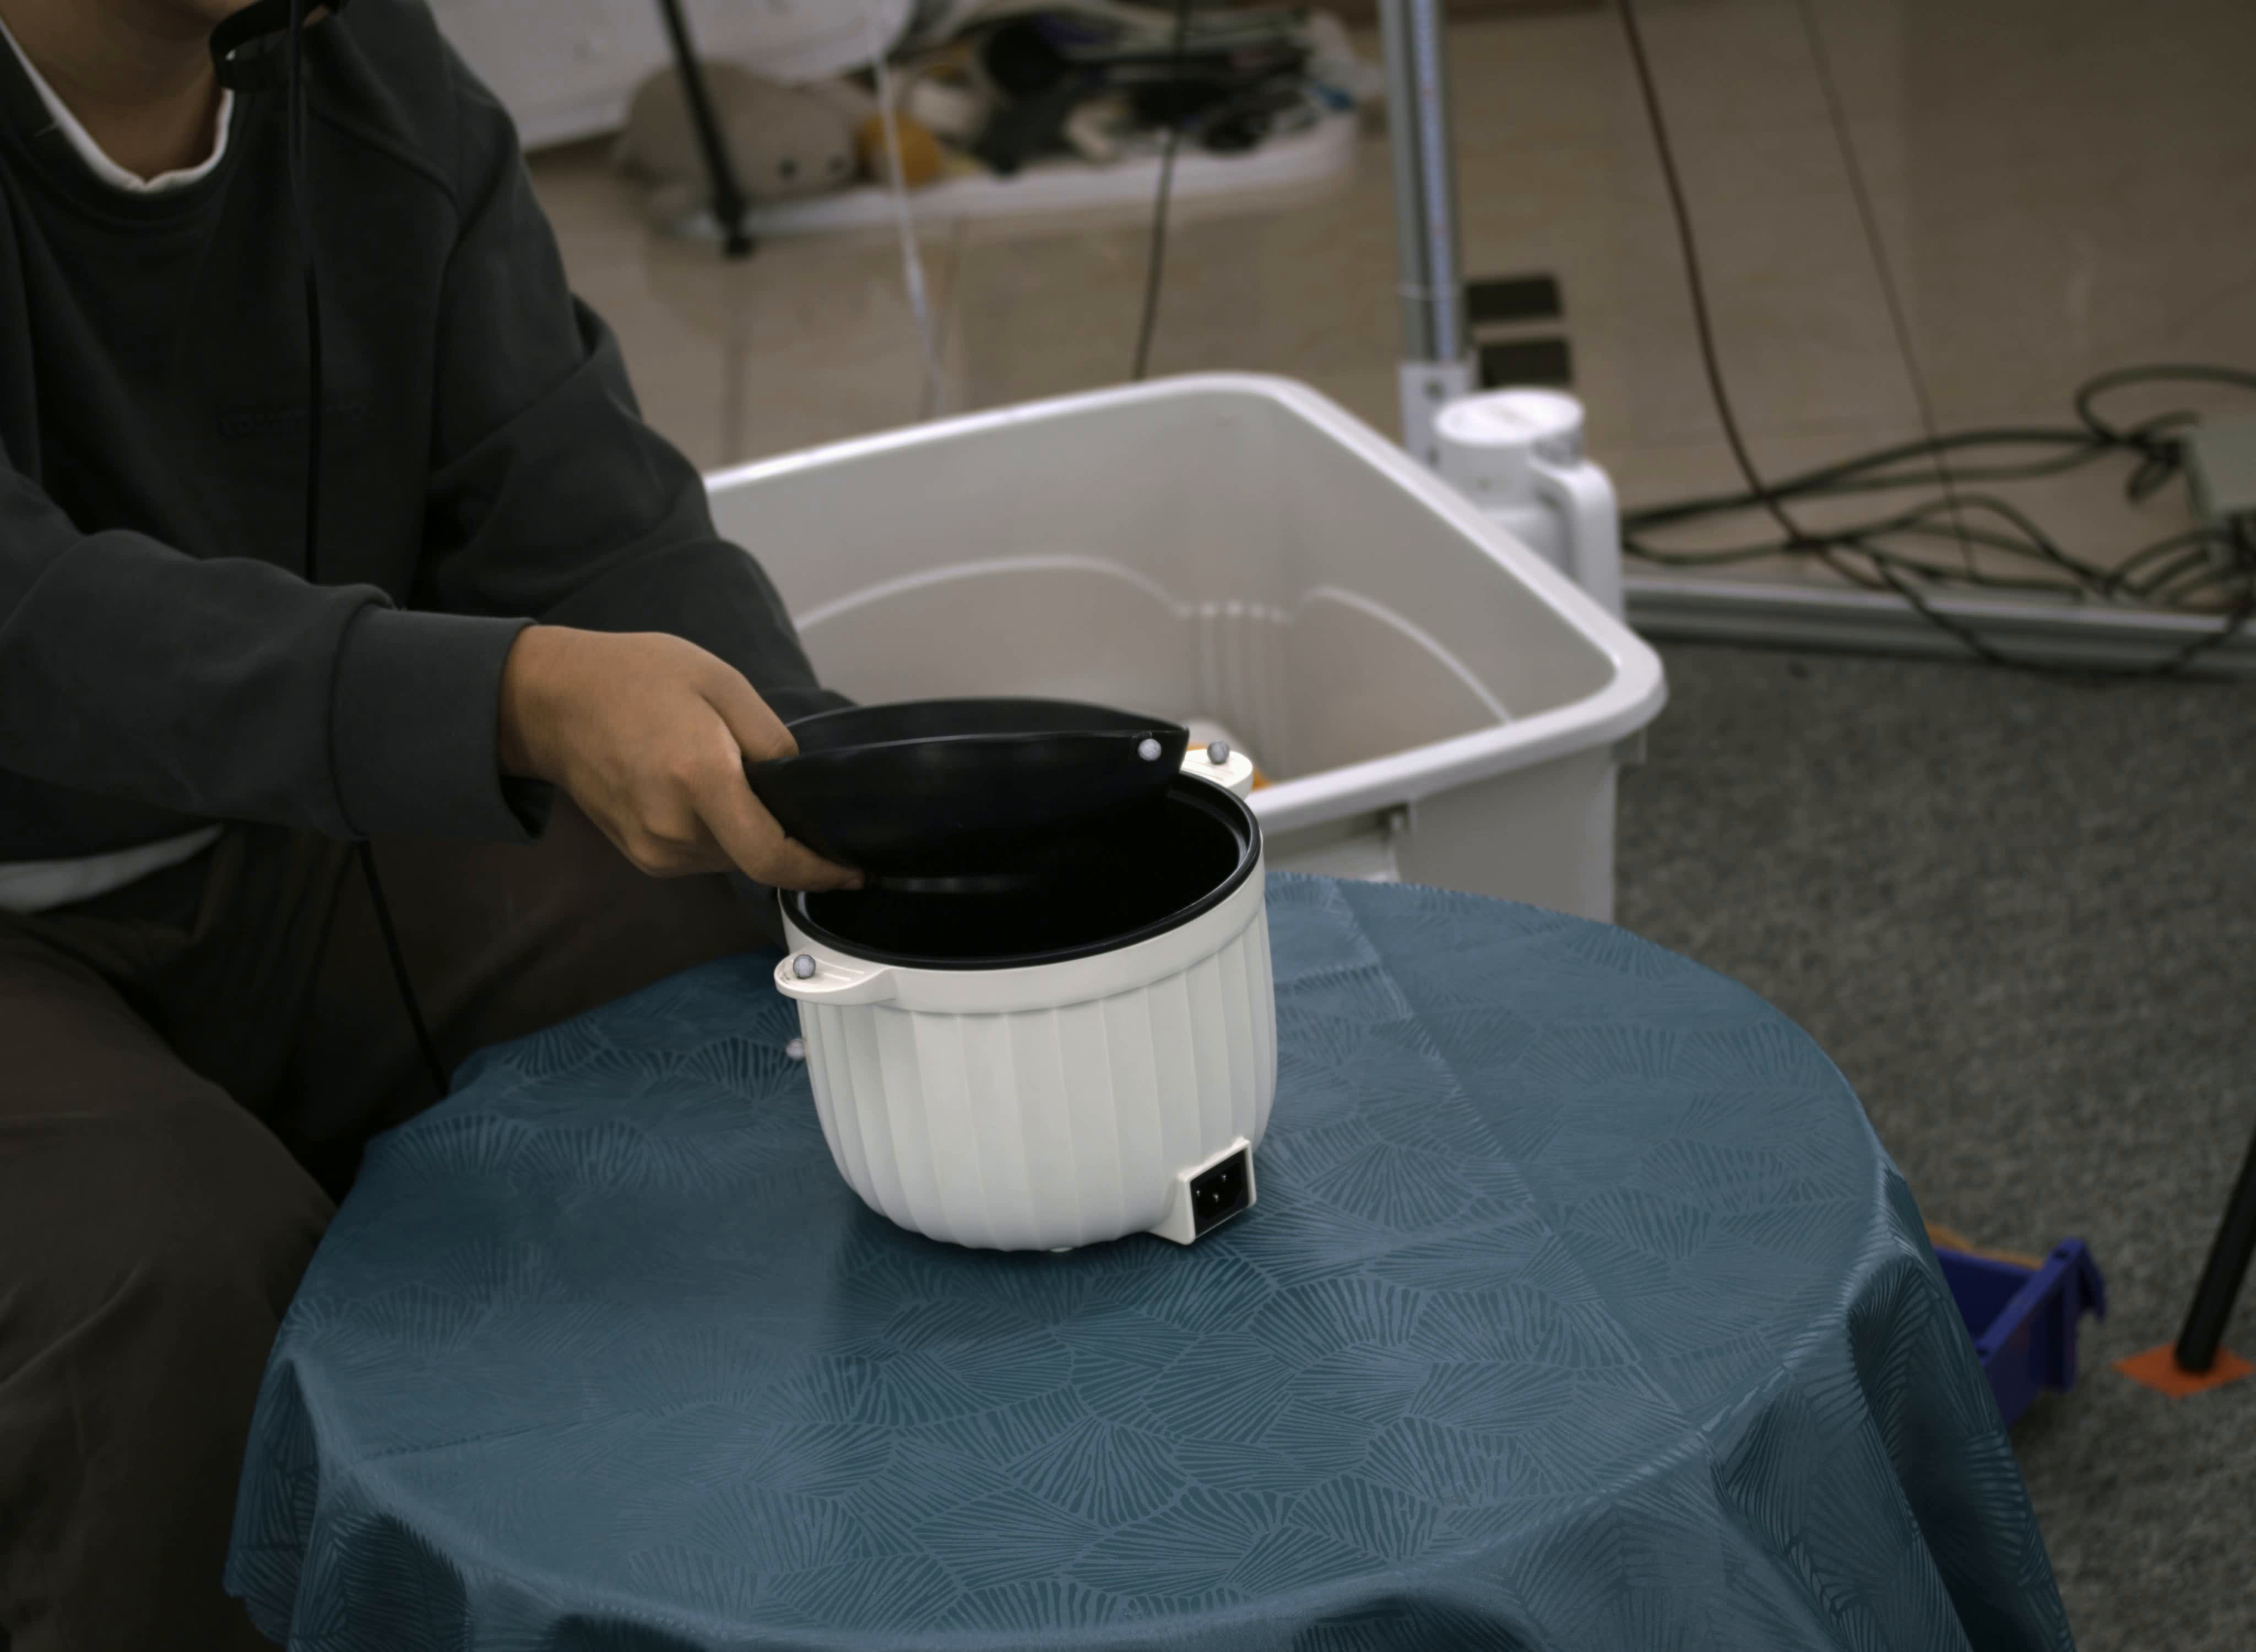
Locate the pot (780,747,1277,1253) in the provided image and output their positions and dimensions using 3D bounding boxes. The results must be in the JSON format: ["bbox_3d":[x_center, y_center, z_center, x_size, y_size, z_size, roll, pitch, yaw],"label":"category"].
[{"bbox_3d":[-0.038,0.071,2.139,0.189,0.145,0.238,20,34,38],"label":"pot"}]

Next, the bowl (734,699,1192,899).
[{"bbox_3d":[-0.060,-0.009,2.091,0.170,0.067,0.137,-2,6,-13],"label":"bowl"}]
